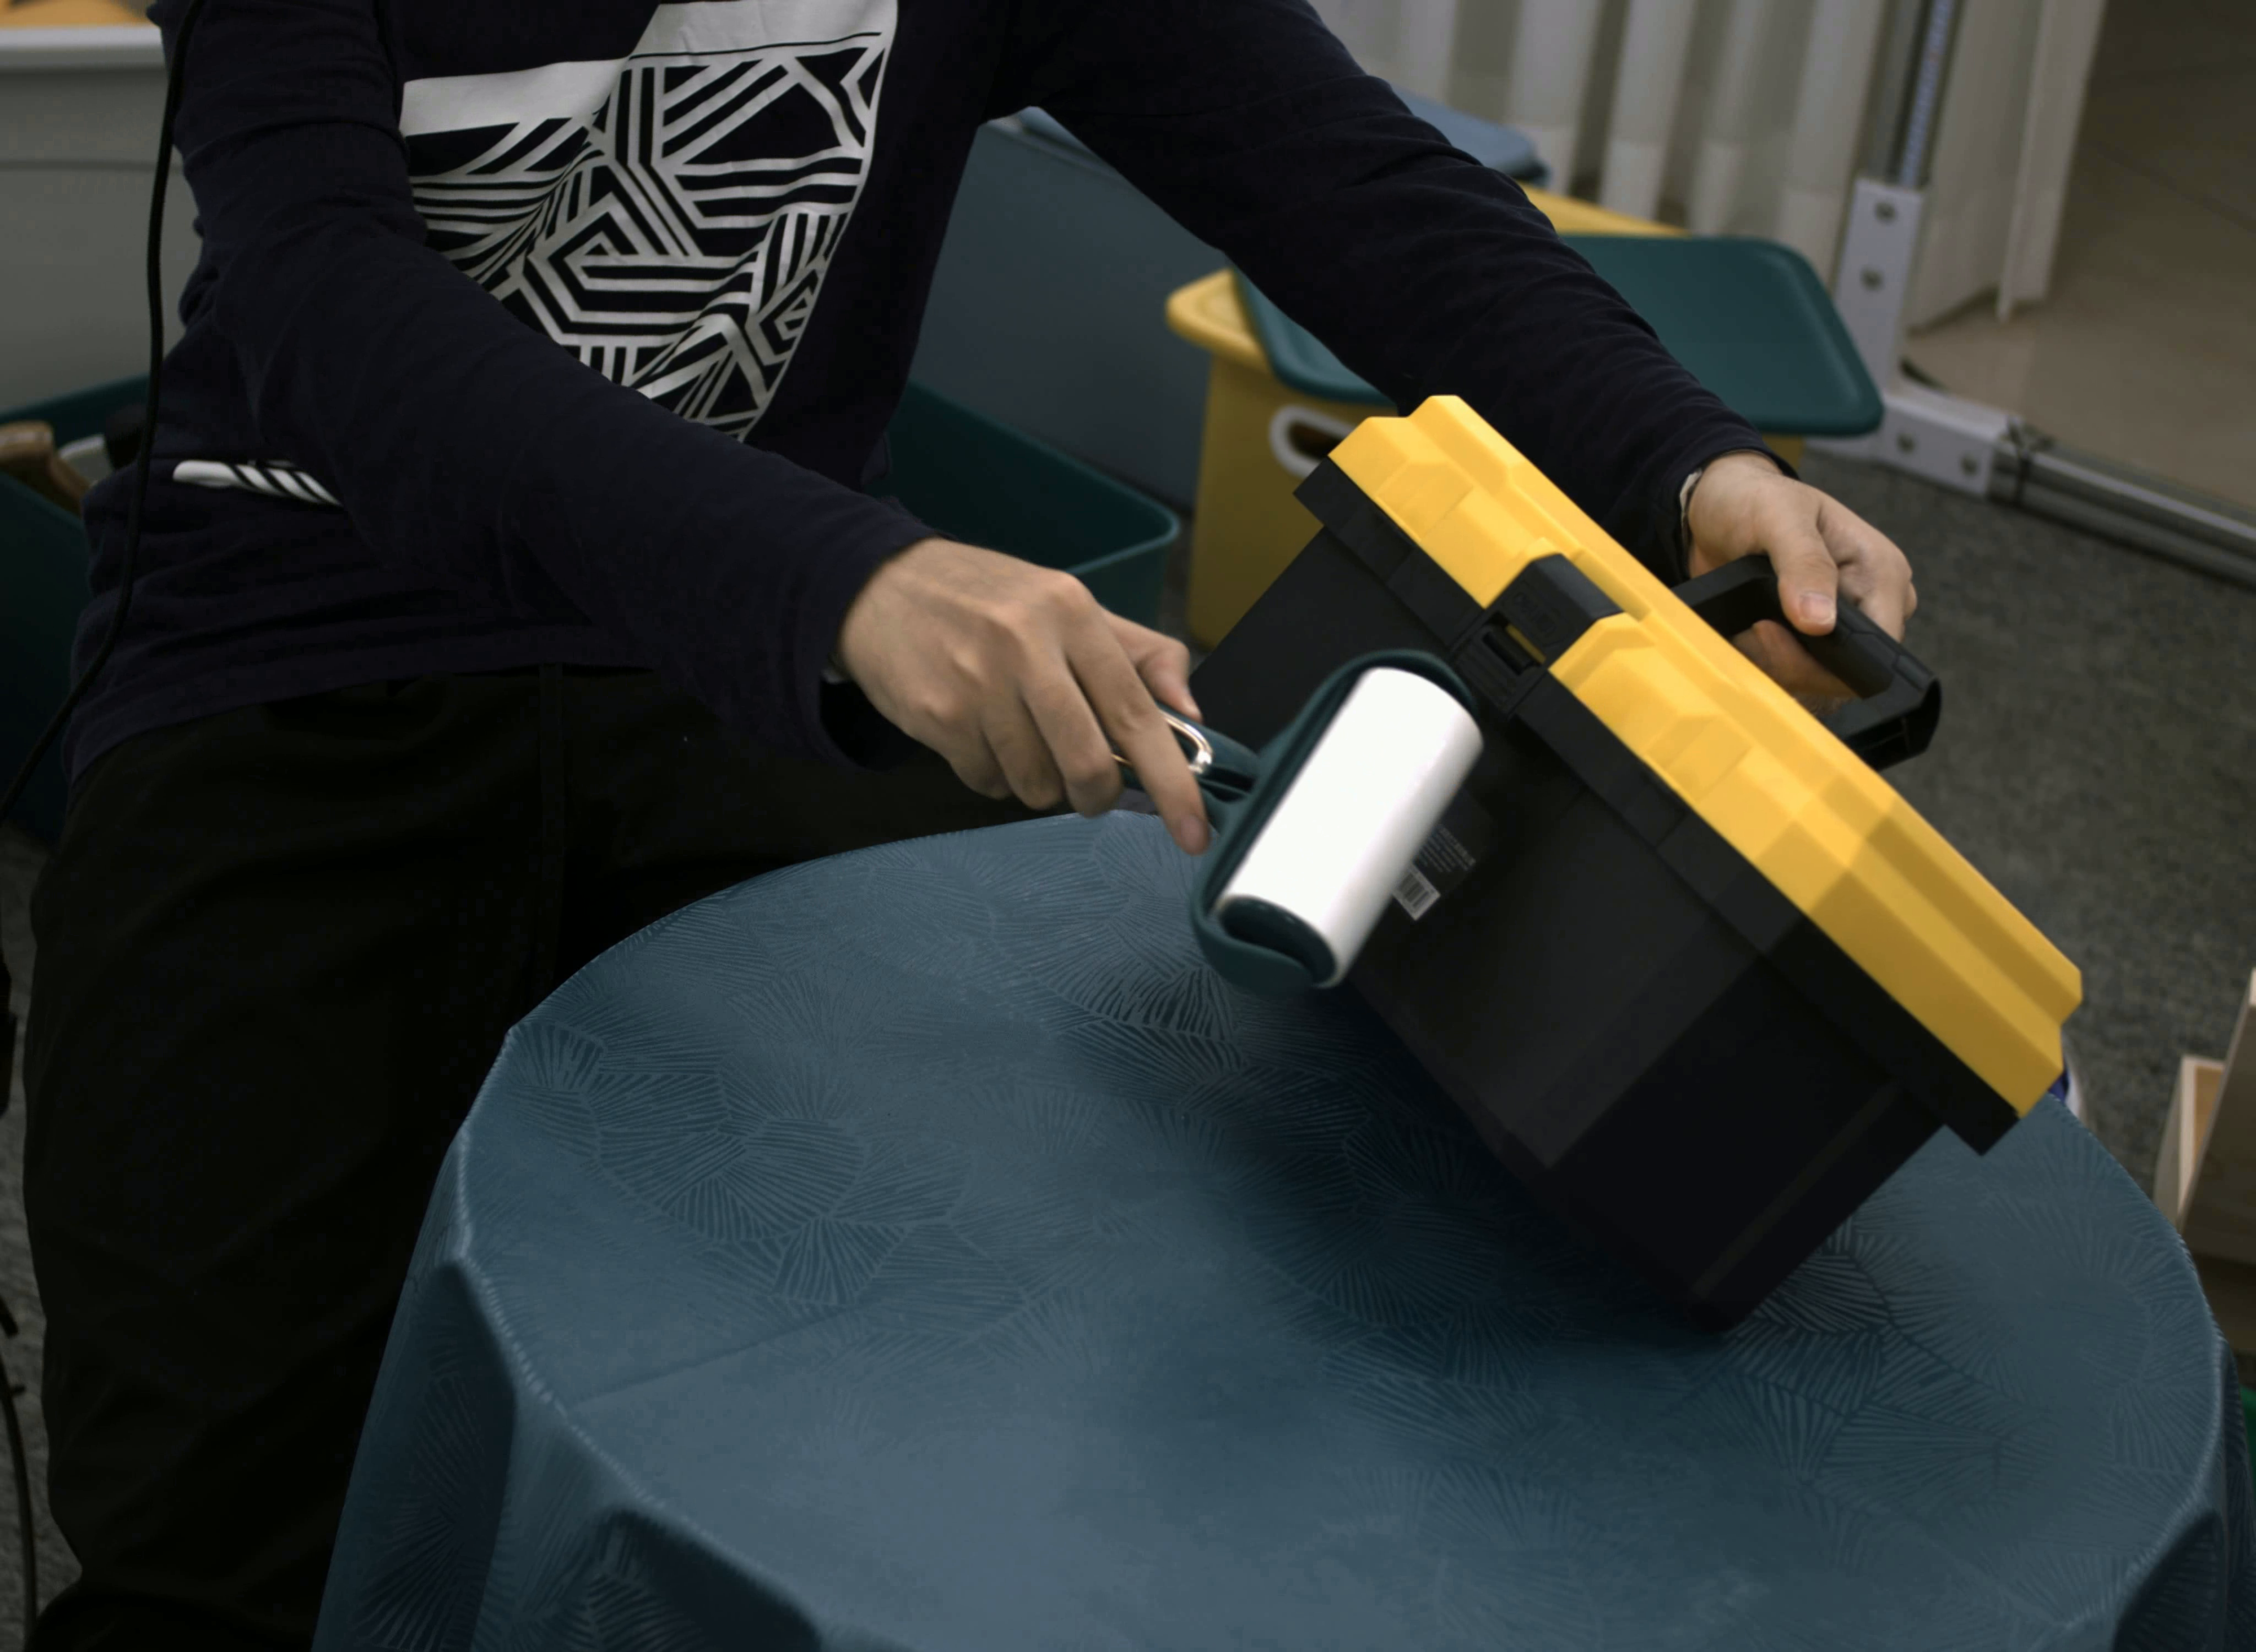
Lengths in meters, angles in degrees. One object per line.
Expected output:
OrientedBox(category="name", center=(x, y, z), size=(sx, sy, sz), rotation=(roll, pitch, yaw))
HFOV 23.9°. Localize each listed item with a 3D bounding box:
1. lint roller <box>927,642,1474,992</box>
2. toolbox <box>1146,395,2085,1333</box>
OrientedBox(category="lint roller", center=(0.010, -0.028, 1.765), size=(0.181, 0.048, 0.134), rotation=(23, 62, 19))
OrientedBox(category="toolbox", center=(0.155, 0.008, 1.837), size=(0.179, 0.173, 0.354), rotation=(40, 5, -36))
